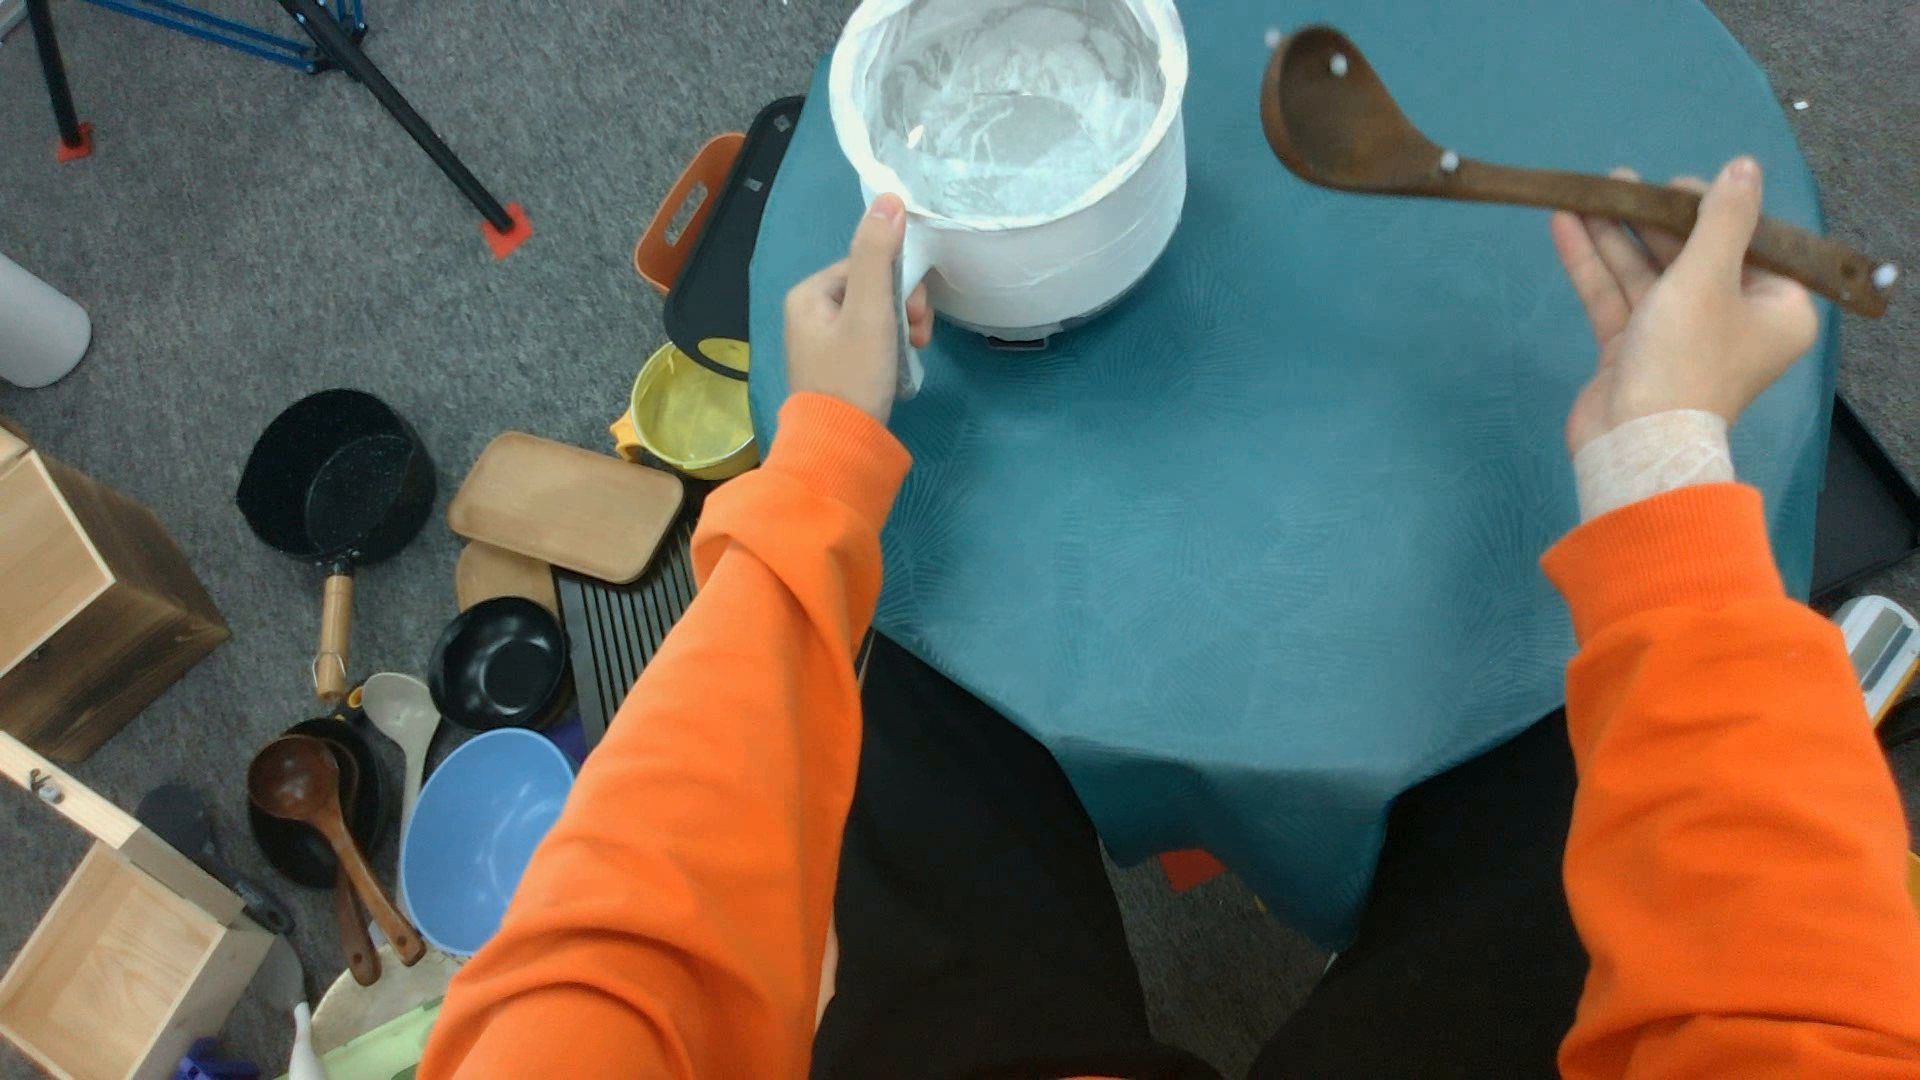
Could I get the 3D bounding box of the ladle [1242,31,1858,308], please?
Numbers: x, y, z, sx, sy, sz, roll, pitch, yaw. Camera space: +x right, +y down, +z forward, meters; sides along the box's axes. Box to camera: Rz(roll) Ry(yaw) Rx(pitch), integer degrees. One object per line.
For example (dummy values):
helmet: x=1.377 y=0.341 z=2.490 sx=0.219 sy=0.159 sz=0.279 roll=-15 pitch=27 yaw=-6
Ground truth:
ladle: x=0.259 y=-0.168 z=0.618 sx=0.274 sy=0.071 sz=0.076 roll=22 pitch=70 yaw=25

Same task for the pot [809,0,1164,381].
pot: x=0.005 y=-0.197 z=0.735 sx=0.179 sy=0.136 sz=0.234 roll=30 pitch=78 yaw=17
